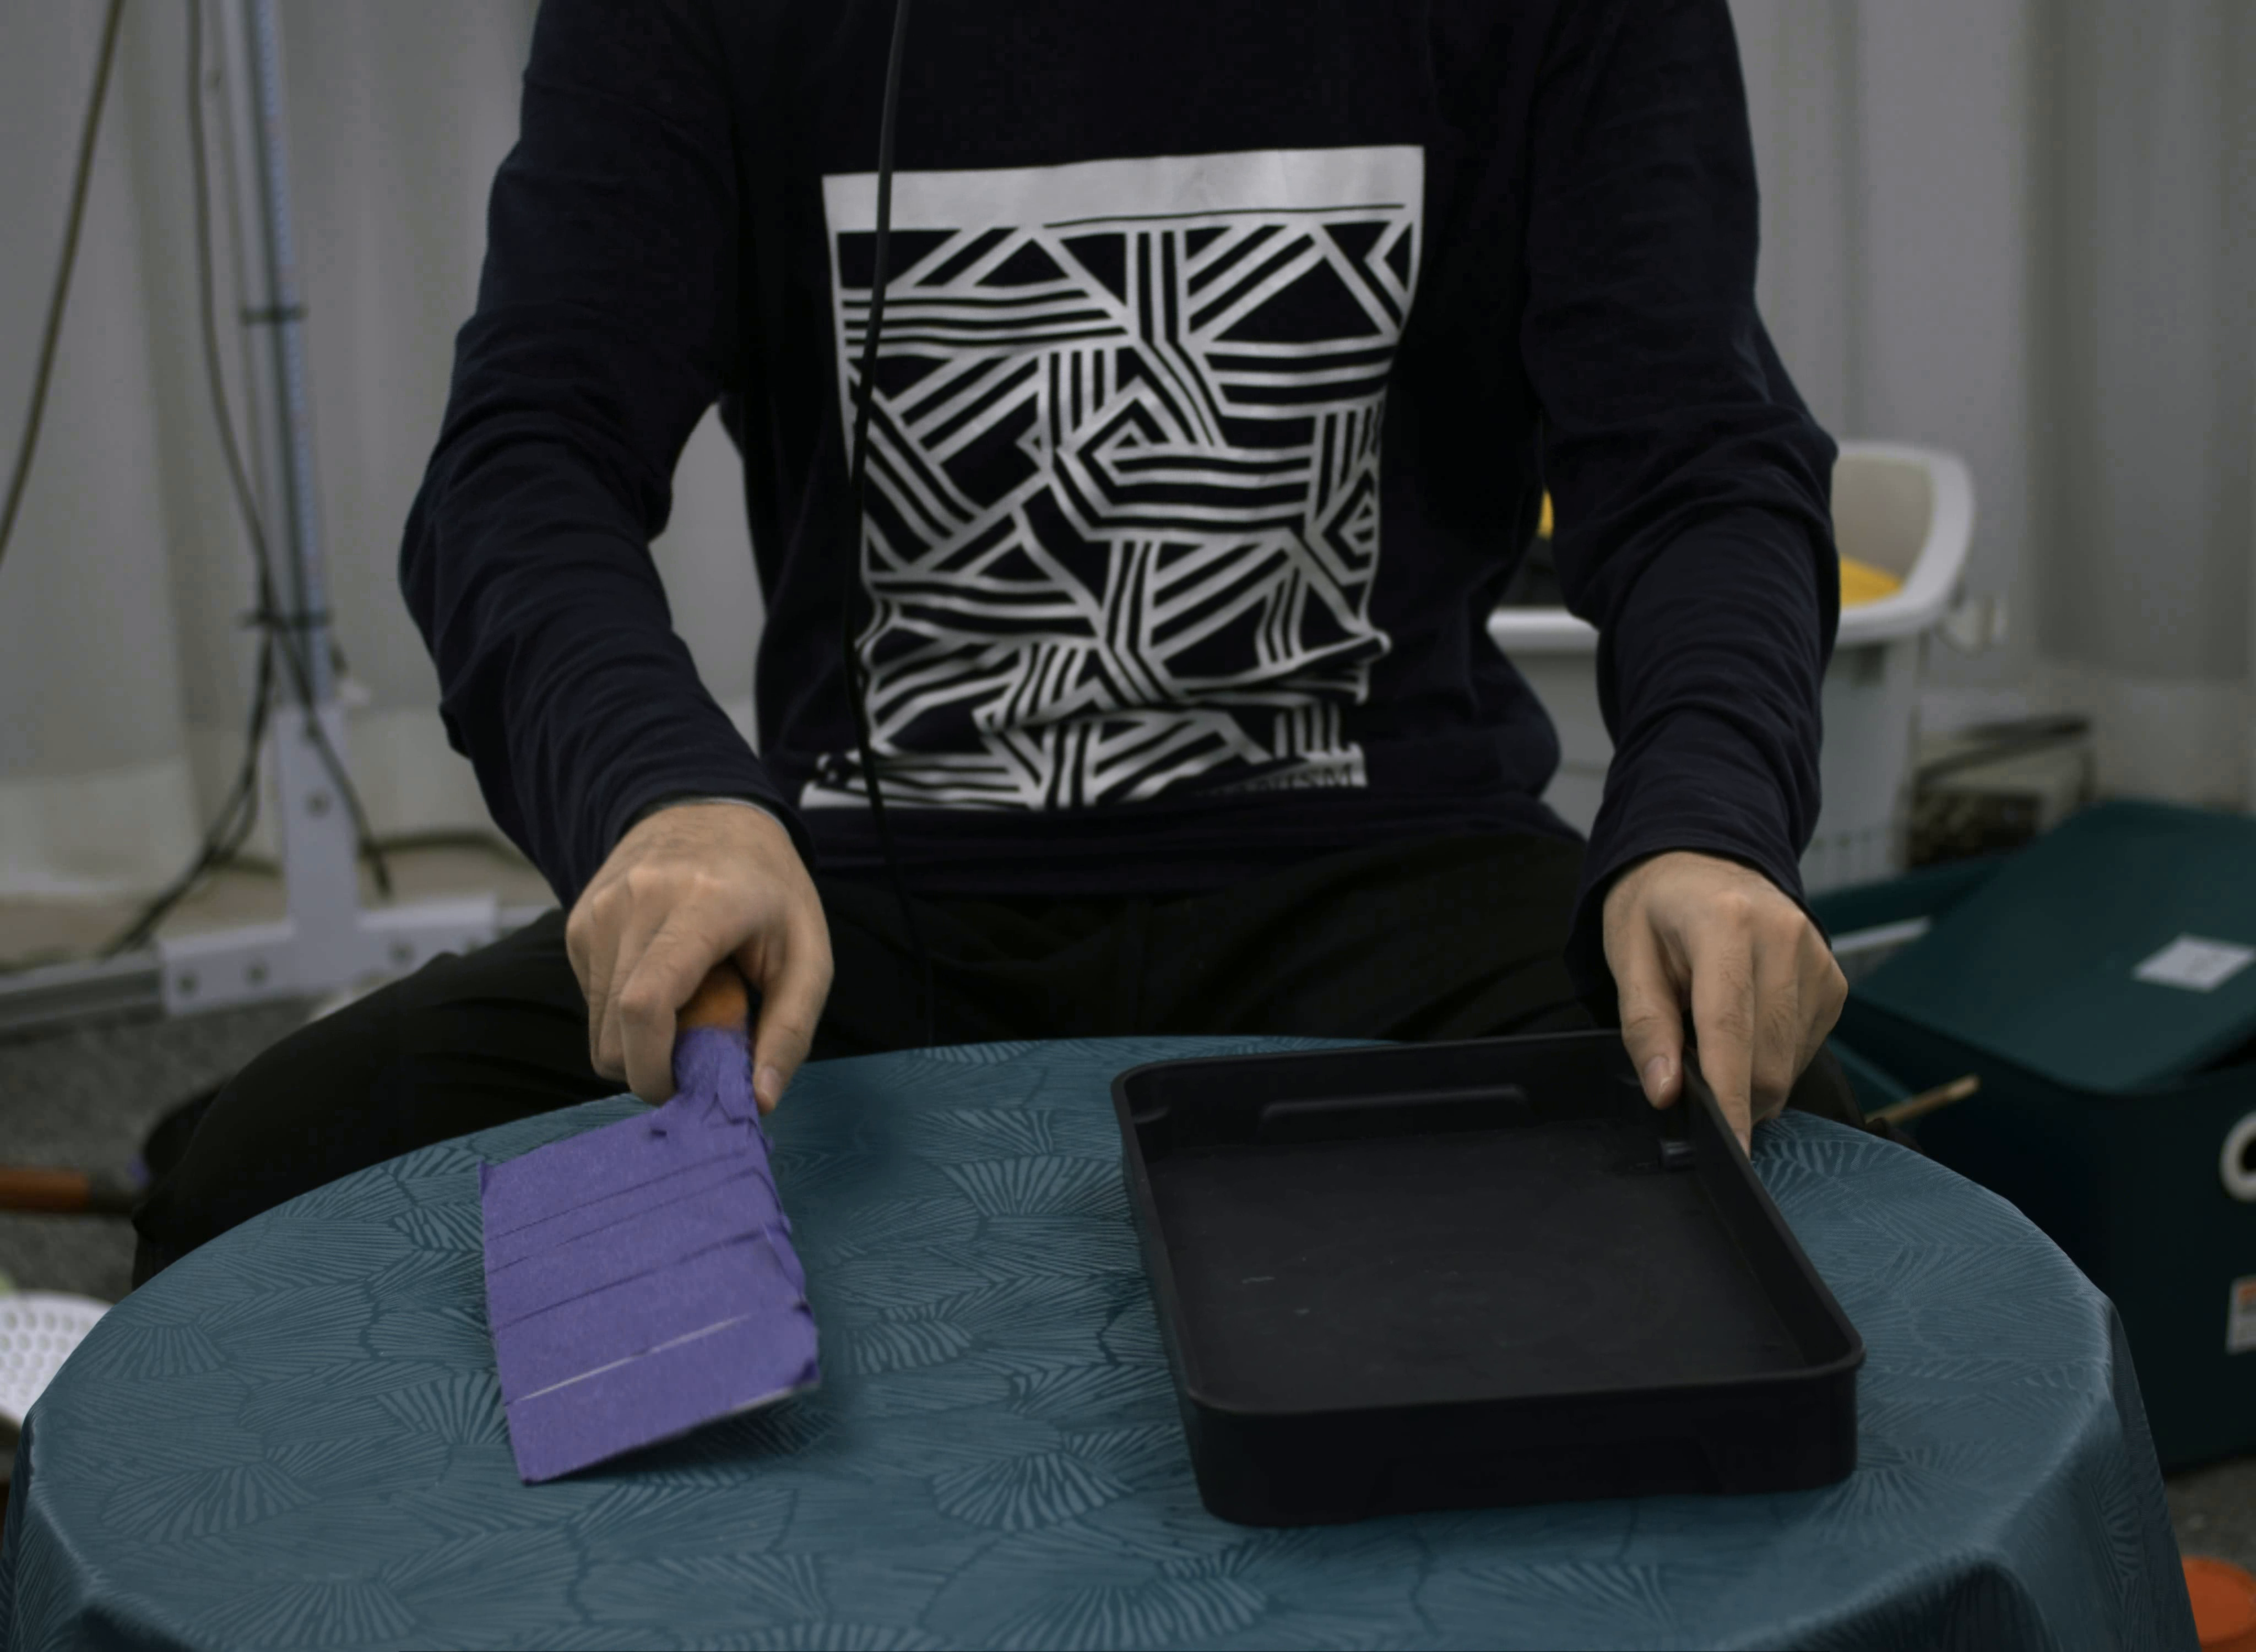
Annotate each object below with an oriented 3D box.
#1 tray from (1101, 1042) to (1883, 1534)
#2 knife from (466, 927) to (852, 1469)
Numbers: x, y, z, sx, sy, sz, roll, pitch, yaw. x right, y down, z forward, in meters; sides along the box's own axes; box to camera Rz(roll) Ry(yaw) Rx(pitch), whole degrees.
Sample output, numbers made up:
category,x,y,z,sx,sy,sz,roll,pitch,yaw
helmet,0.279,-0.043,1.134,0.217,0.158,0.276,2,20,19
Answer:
category,x,y,z,sx,sy,sz,roll,pitch,yaw
tray,0.097,0.128,1.586,0.183,0.037,0.320,-5,14,-5
knife,-0.151,0.106,1.641,0.103,0.032,0.318,-20,21,-3
